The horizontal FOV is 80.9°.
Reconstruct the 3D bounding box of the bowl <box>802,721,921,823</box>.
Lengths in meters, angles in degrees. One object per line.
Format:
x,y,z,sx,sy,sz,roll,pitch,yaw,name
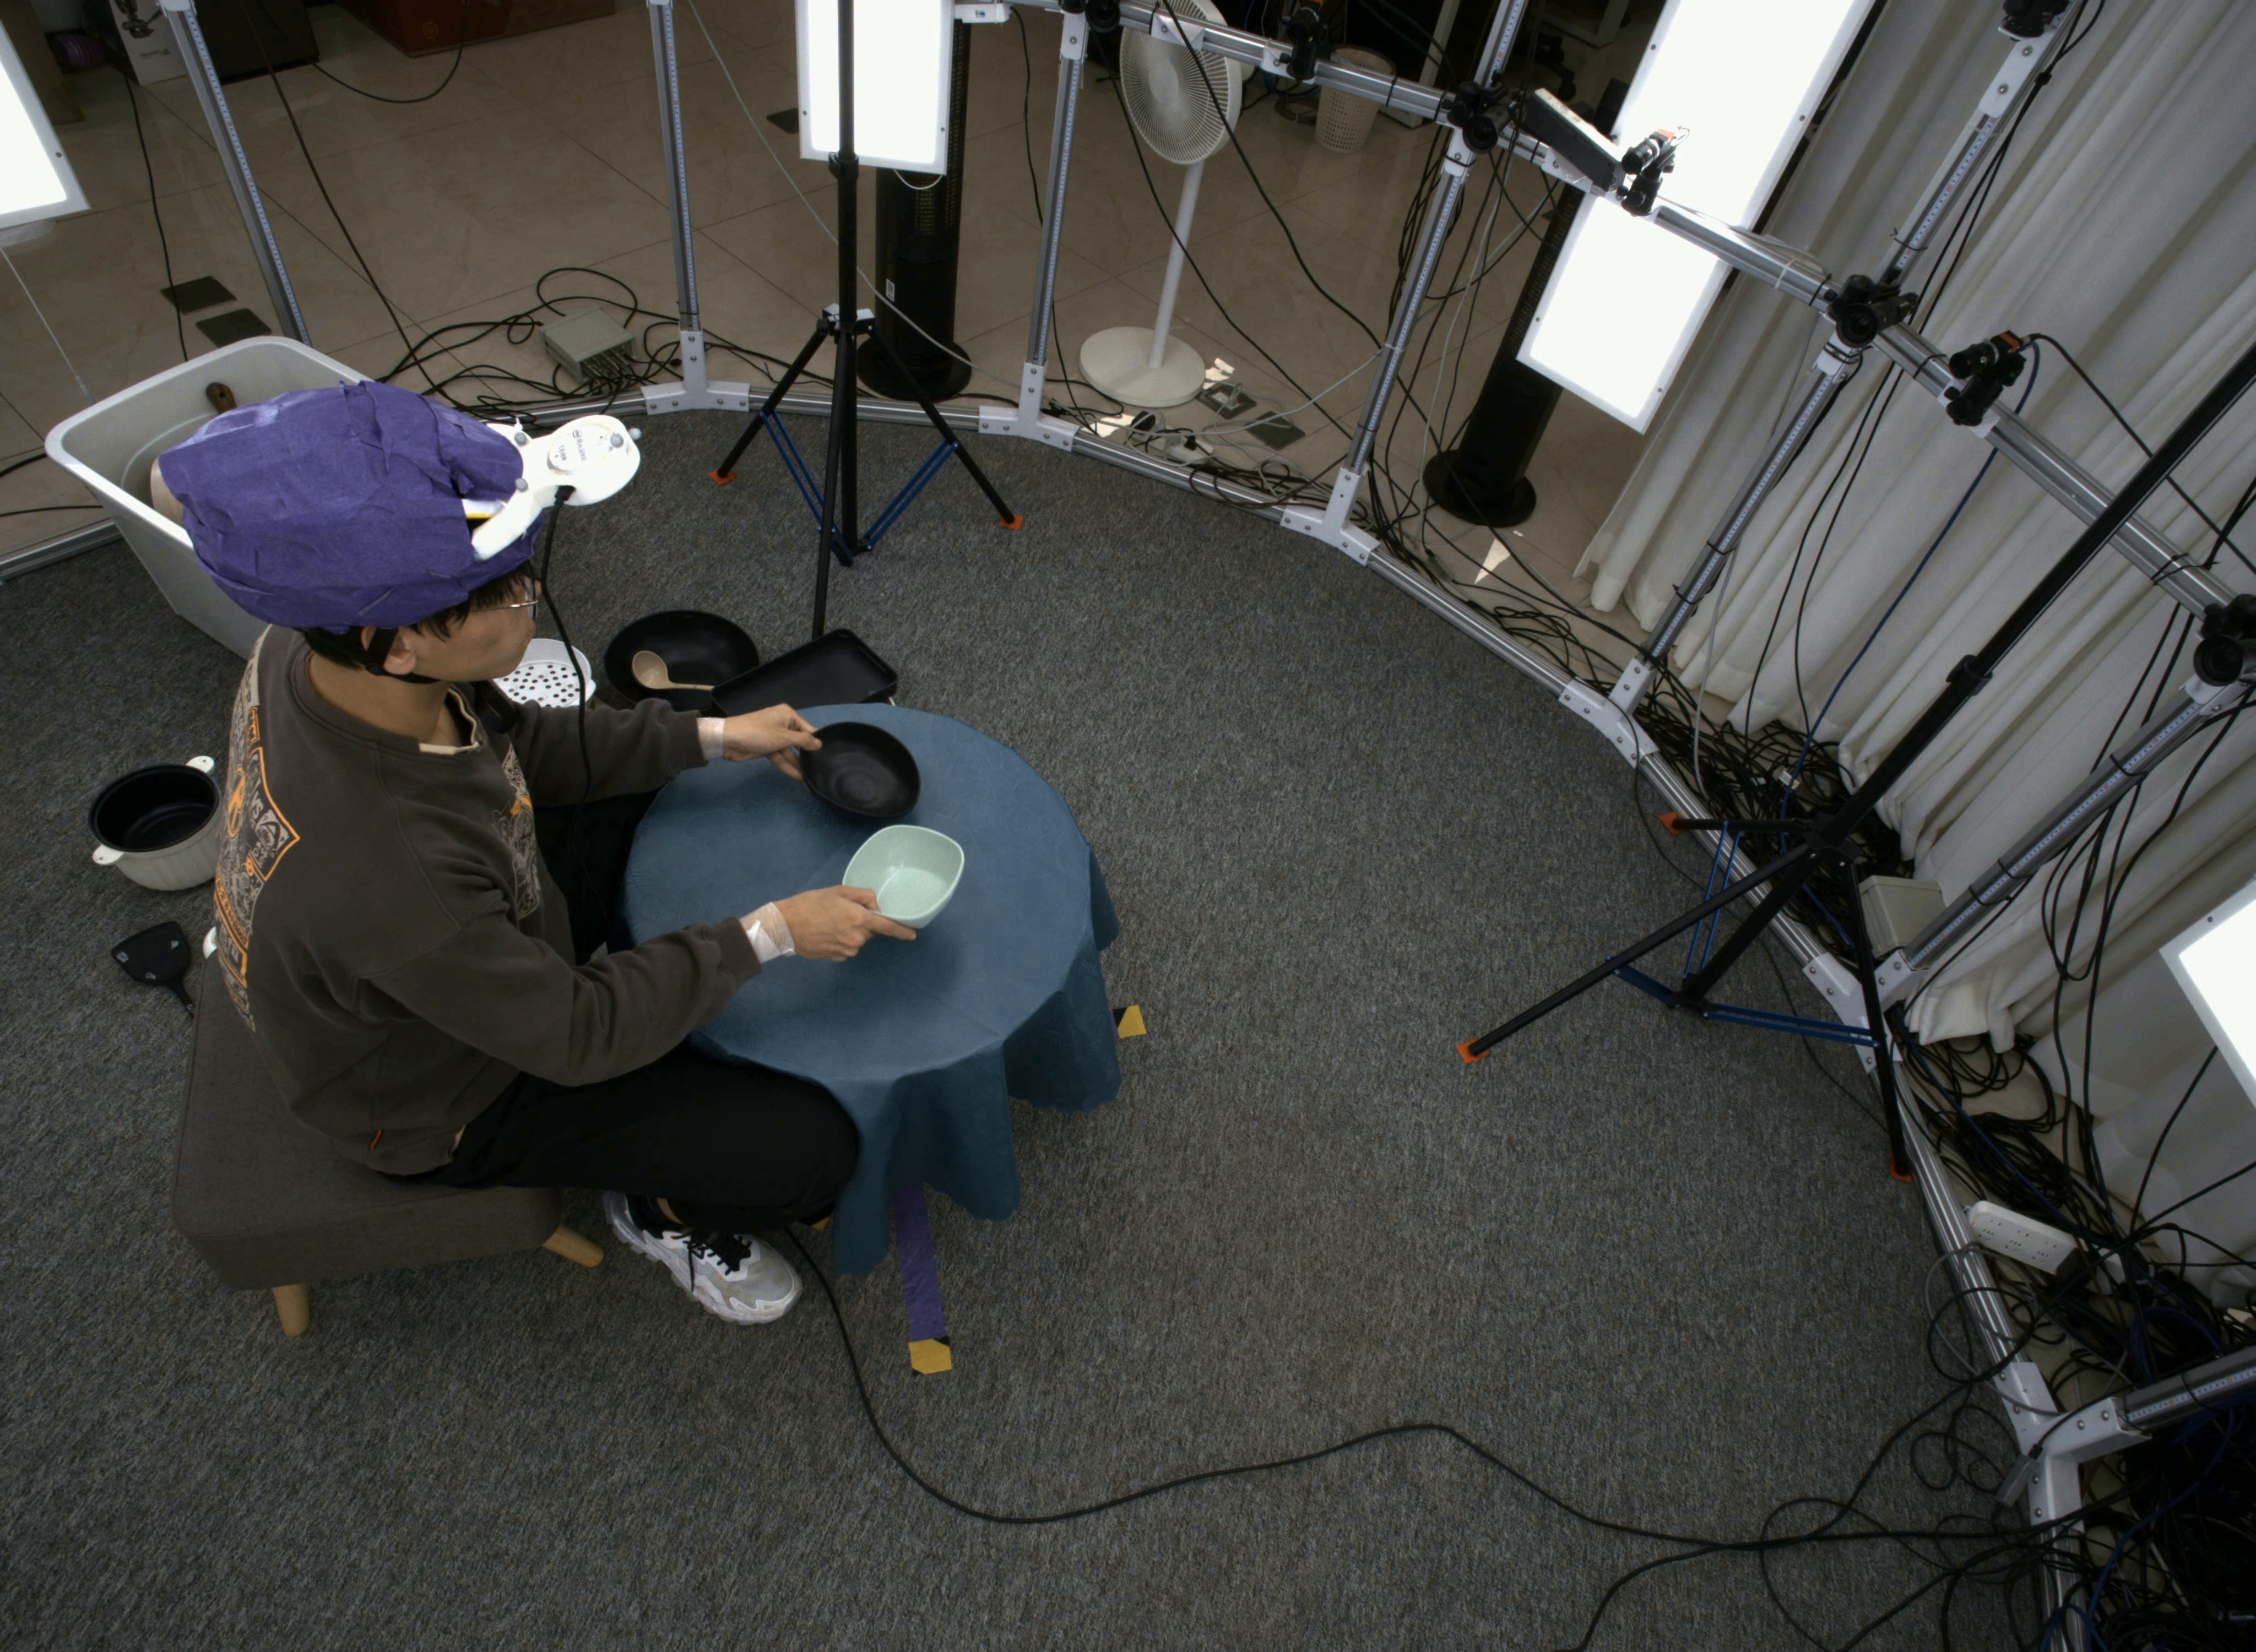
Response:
-0.360,-0.063,1.755,0.169,0.067,0.136,30,56,0,bowl

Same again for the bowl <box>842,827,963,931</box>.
-0.275,0.074,1.612,0.150,0.060,0.148,1,50,0,bowl
